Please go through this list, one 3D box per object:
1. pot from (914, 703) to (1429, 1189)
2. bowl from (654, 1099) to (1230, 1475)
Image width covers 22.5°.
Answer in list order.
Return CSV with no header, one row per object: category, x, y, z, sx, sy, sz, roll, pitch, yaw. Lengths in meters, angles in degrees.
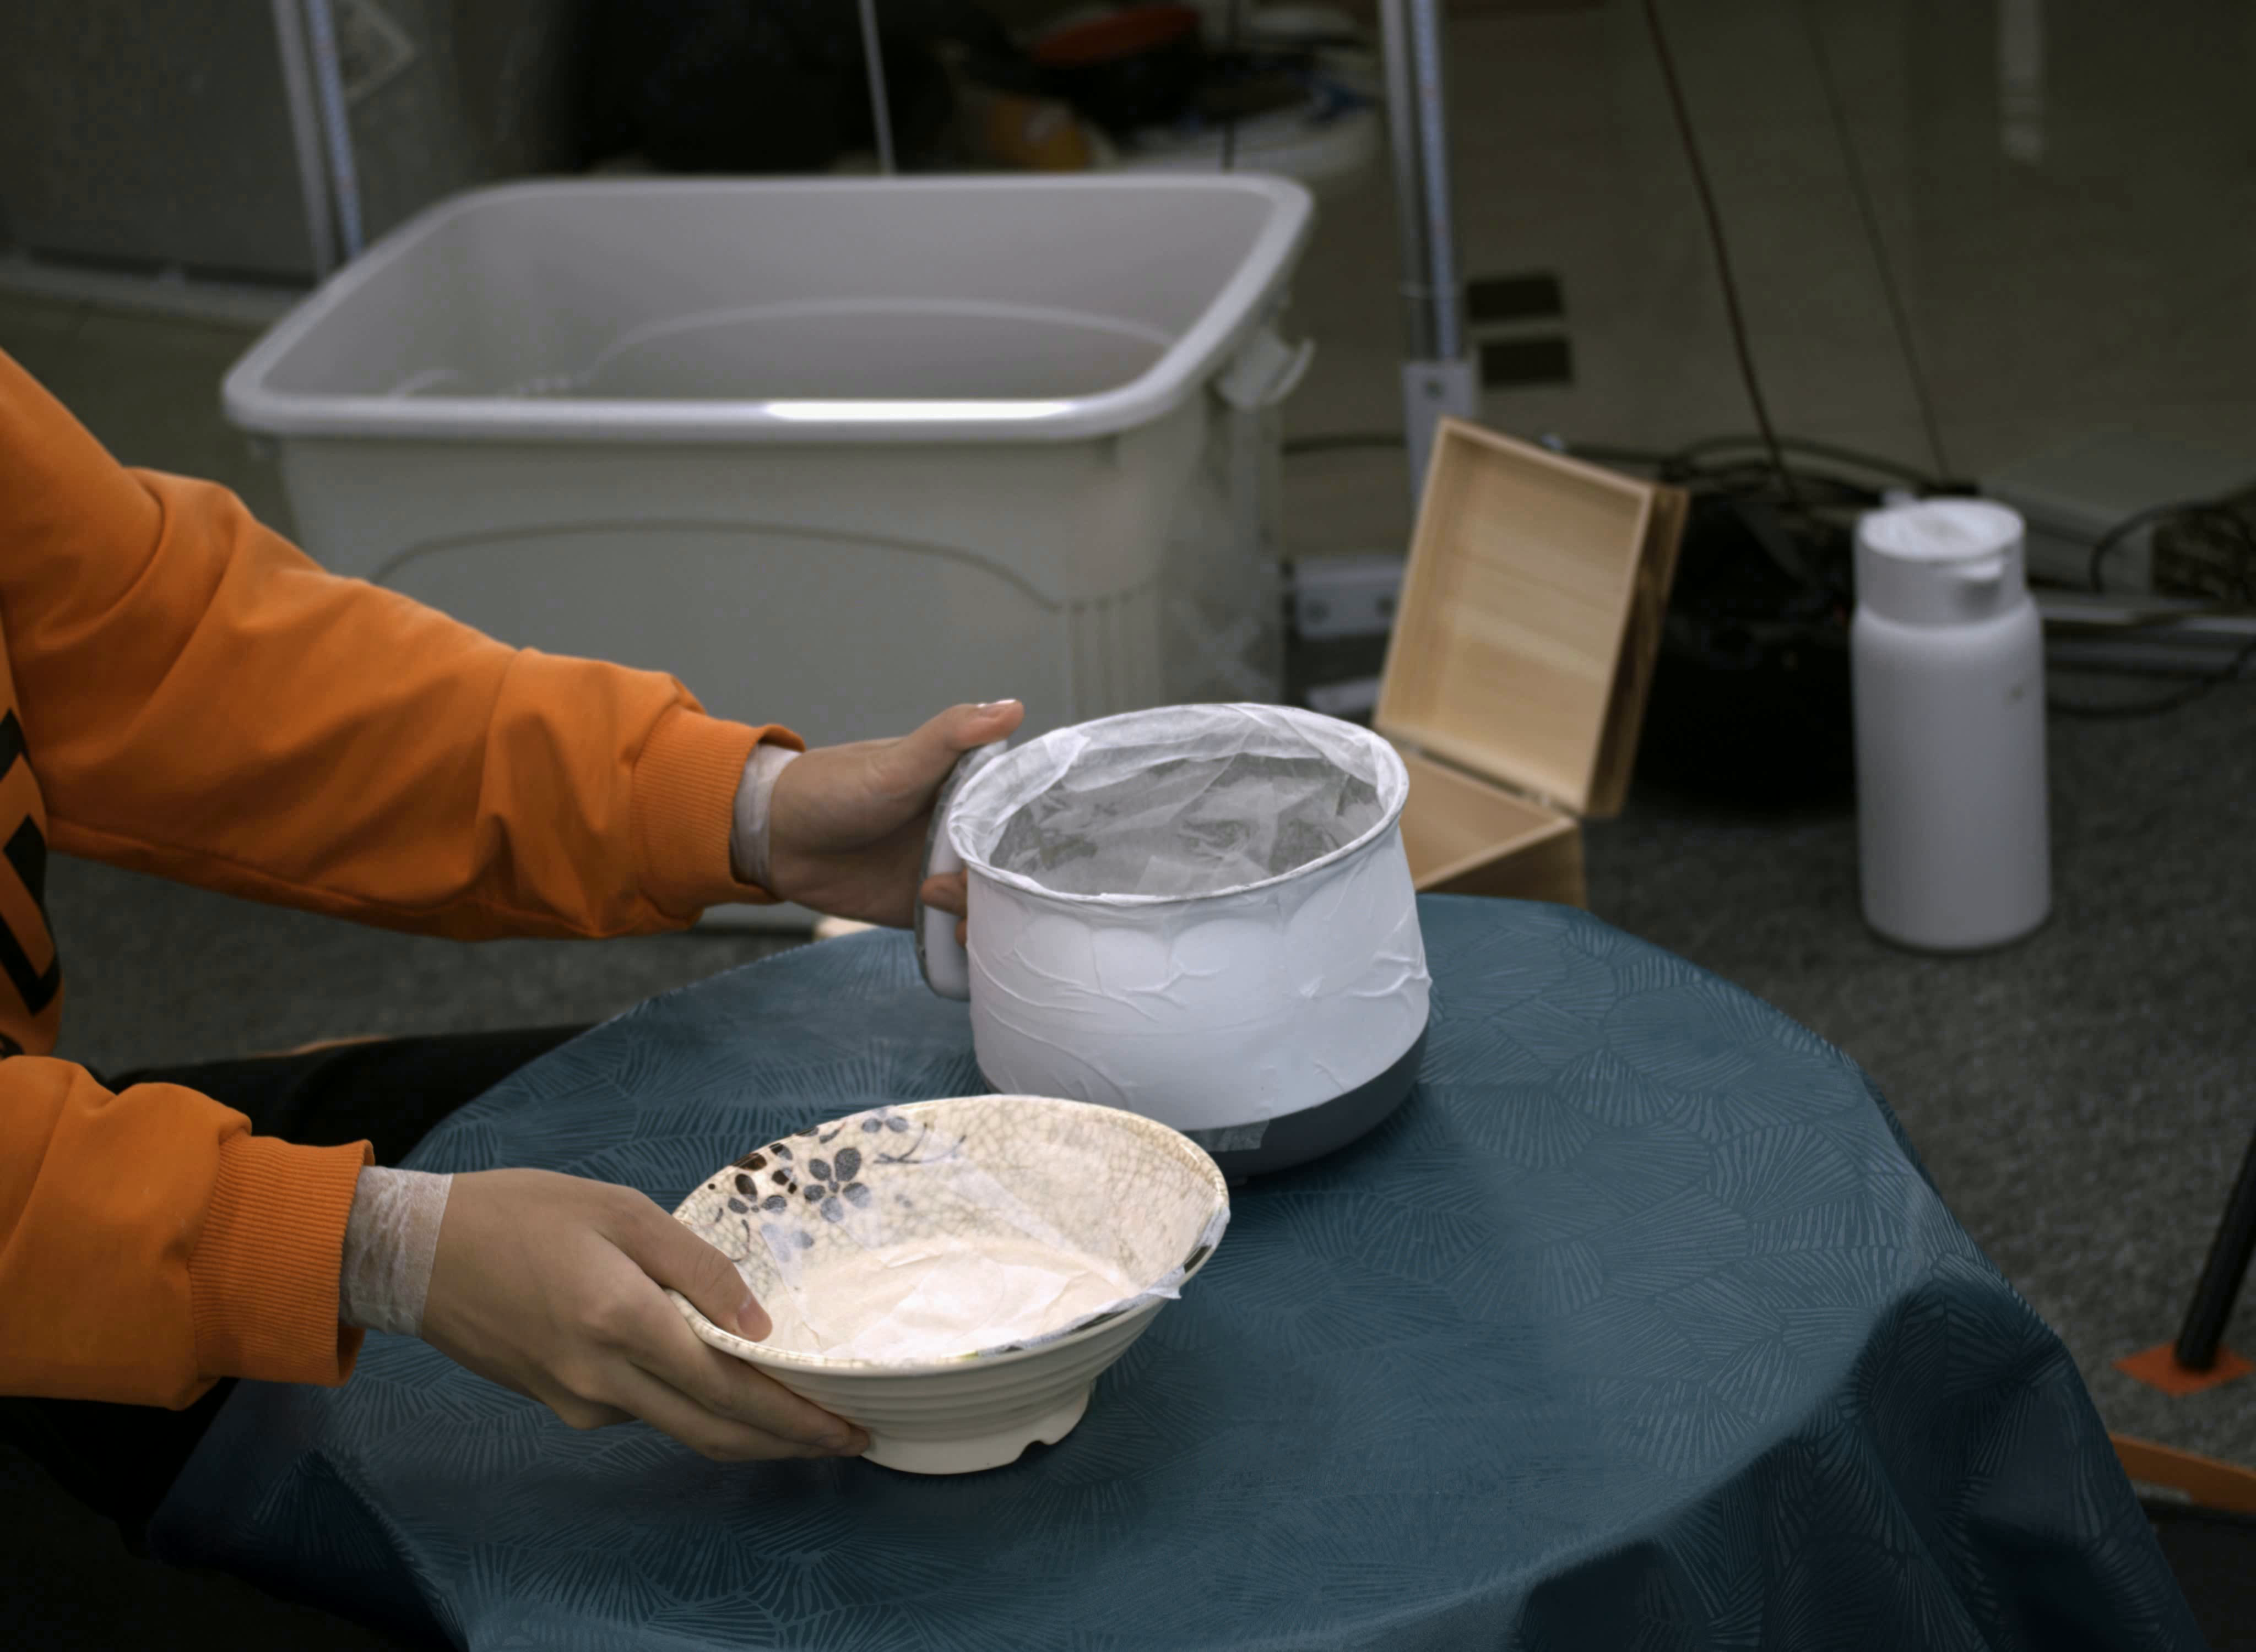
pot,0.004,0.041,2.190,0.232,0.139,0.177,16,33,39
bowl,-0.060,0.173,1.994,0.204,0.079,0.201,-7,23,3
